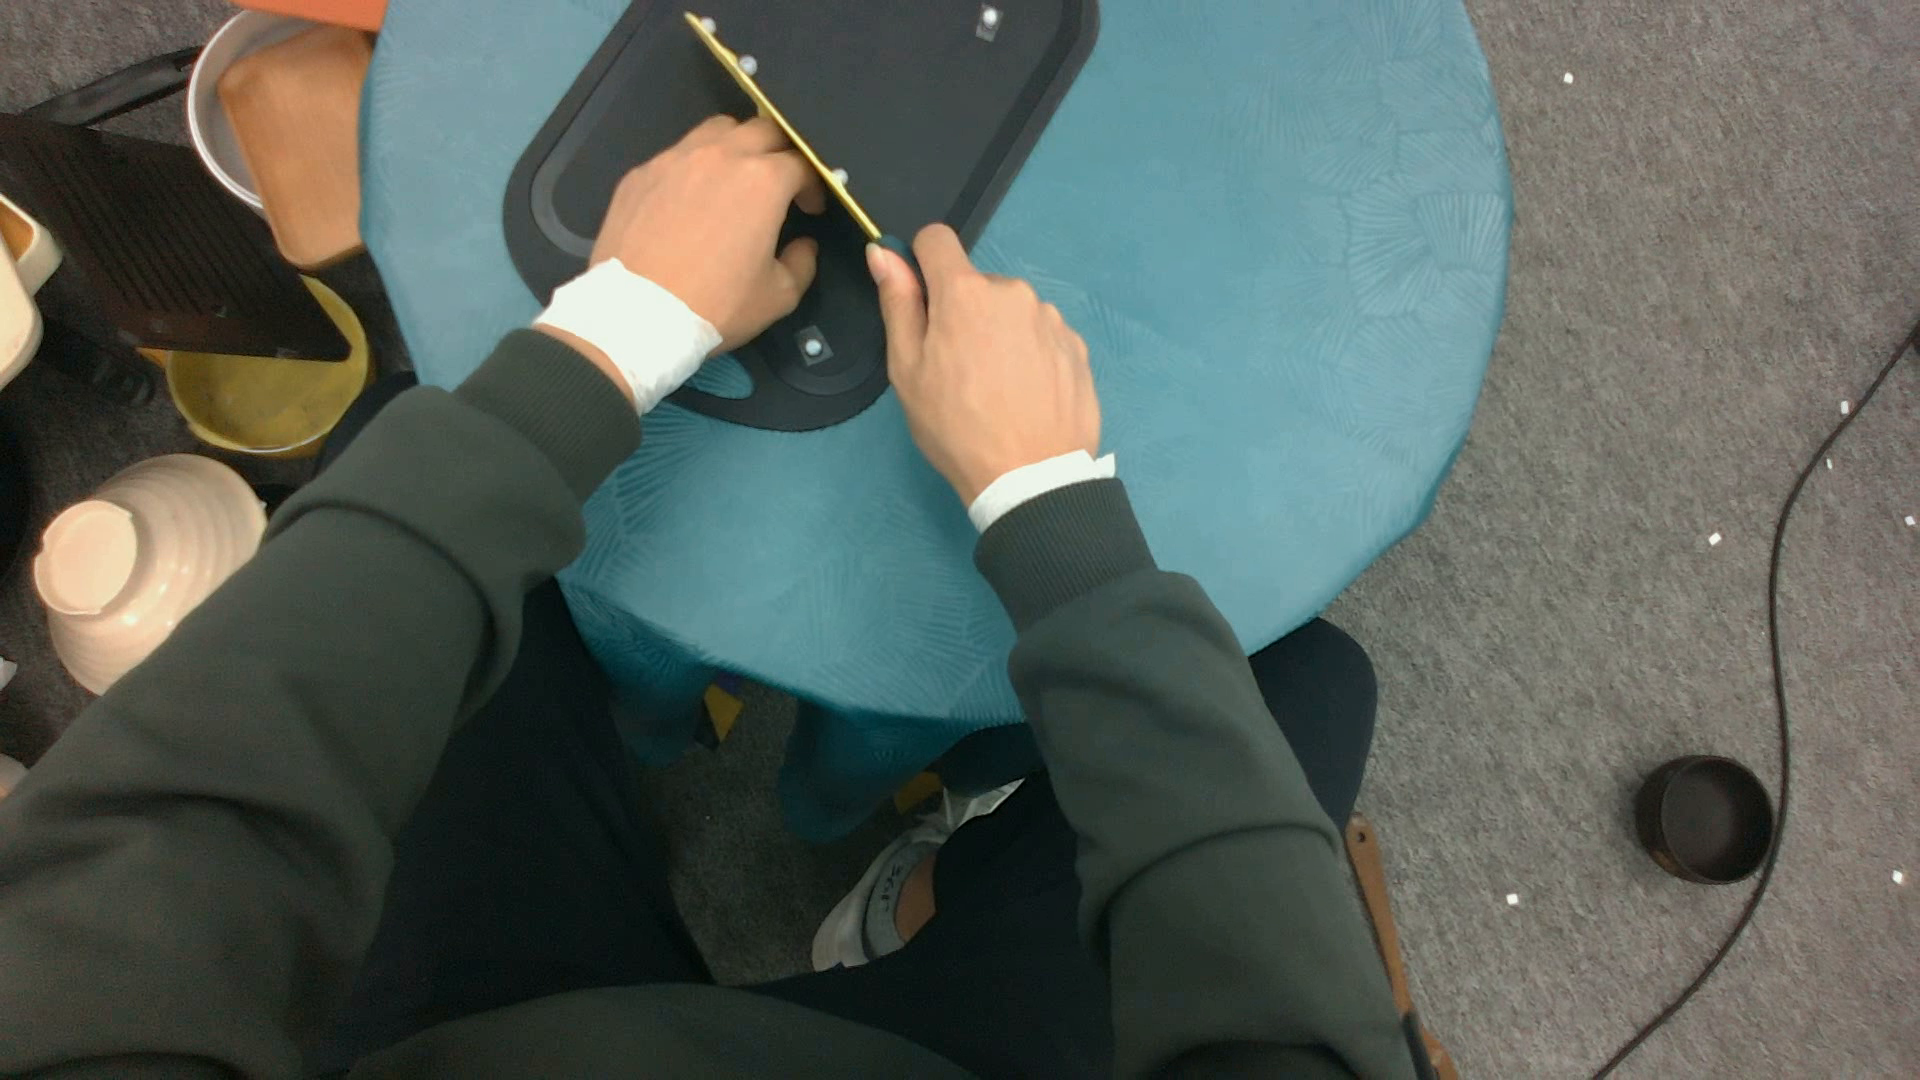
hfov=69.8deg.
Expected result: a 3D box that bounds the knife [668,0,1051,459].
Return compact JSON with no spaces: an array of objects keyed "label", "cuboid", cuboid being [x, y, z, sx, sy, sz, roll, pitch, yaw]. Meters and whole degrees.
[{"label":"knife","cuboid":[-0.053,-0.153,0.659,0.027,0.081,0.289,-39,86,4]}]

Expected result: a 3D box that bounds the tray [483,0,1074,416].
[{"label":"tray","cuboid":[-0.088,-0.221,0.700,0.211,0.010,0.326,30,76,-4]}]
